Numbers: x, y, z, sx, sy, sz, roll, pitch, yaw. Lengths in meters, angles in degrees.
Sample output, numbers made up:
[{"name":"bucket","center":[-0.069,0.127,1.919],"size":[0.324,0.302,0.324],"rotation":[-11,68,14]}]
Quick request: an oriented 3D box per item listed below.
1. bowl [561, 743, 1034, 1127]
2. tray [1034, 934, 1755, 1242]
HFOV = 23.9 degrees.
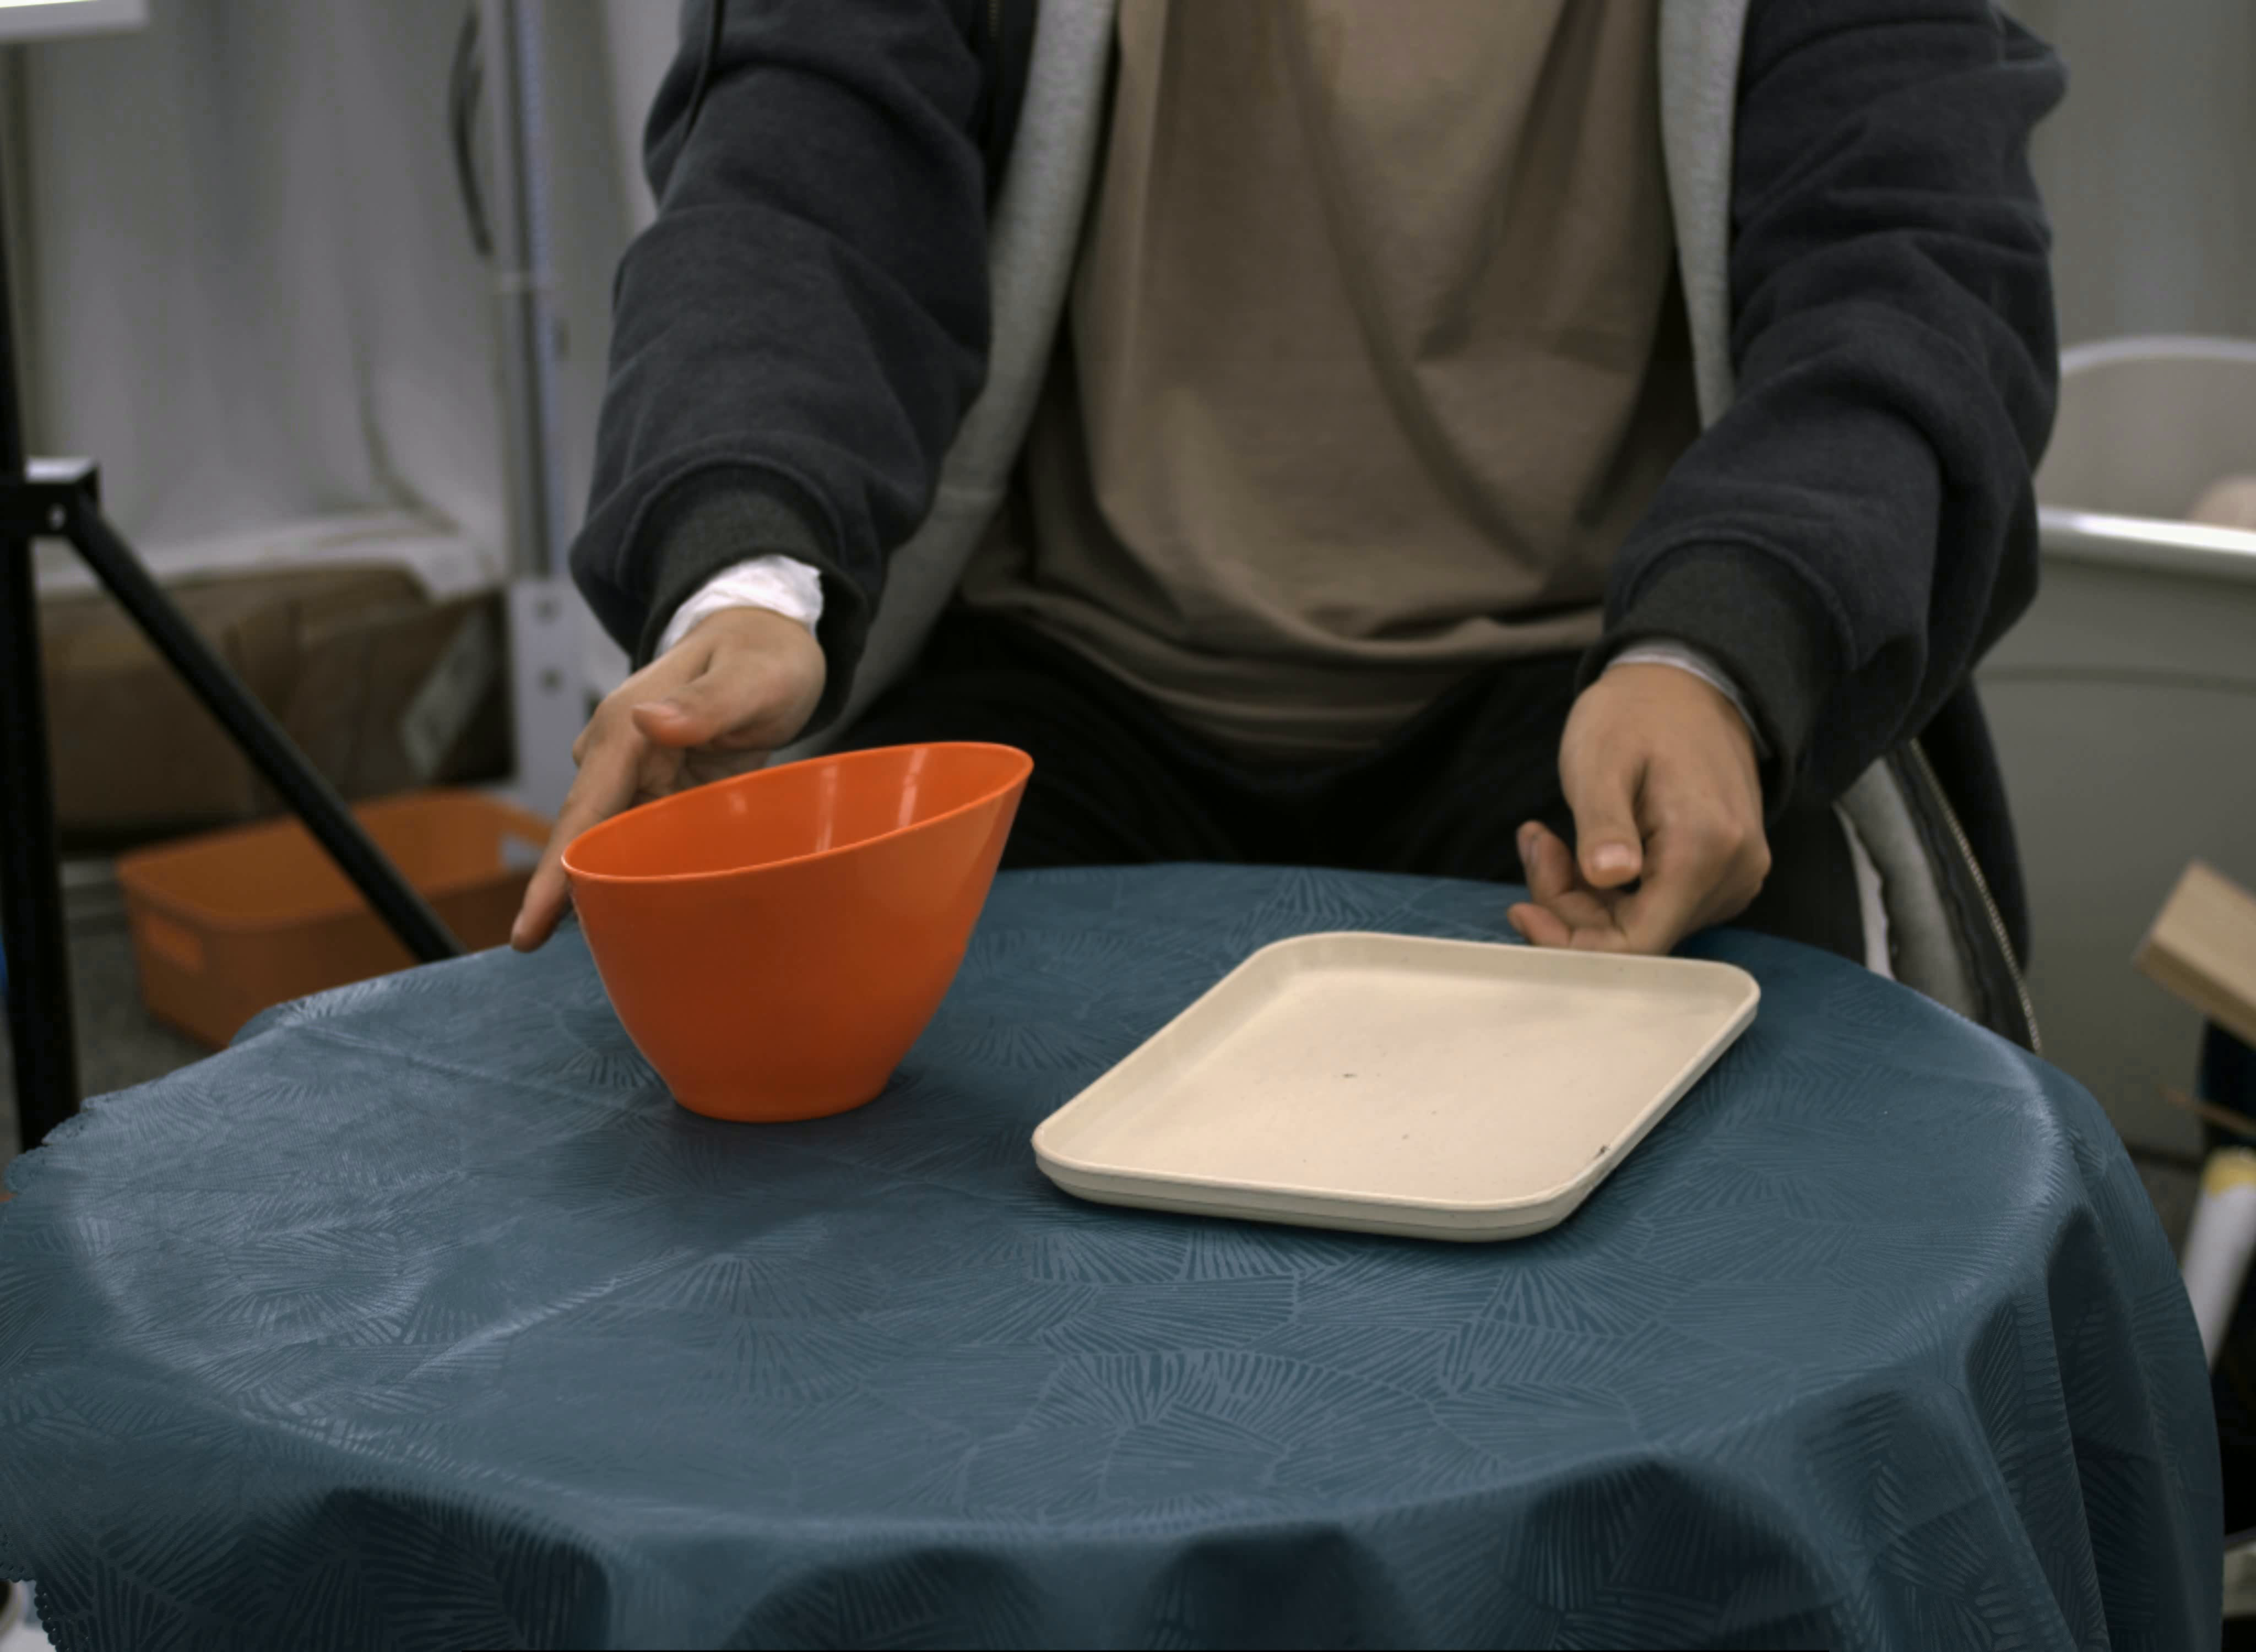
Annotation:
[{"name":"bowl","center":[-0.101,0.035,1.651],"size":[0.147,0.104,0.149],"rotation":[-2,17,-1]},{"name":"tray","center":[0.086,0.079,1.617],"size":[0.173,0.017,0.236],"rotation":[4,17,23]}]
